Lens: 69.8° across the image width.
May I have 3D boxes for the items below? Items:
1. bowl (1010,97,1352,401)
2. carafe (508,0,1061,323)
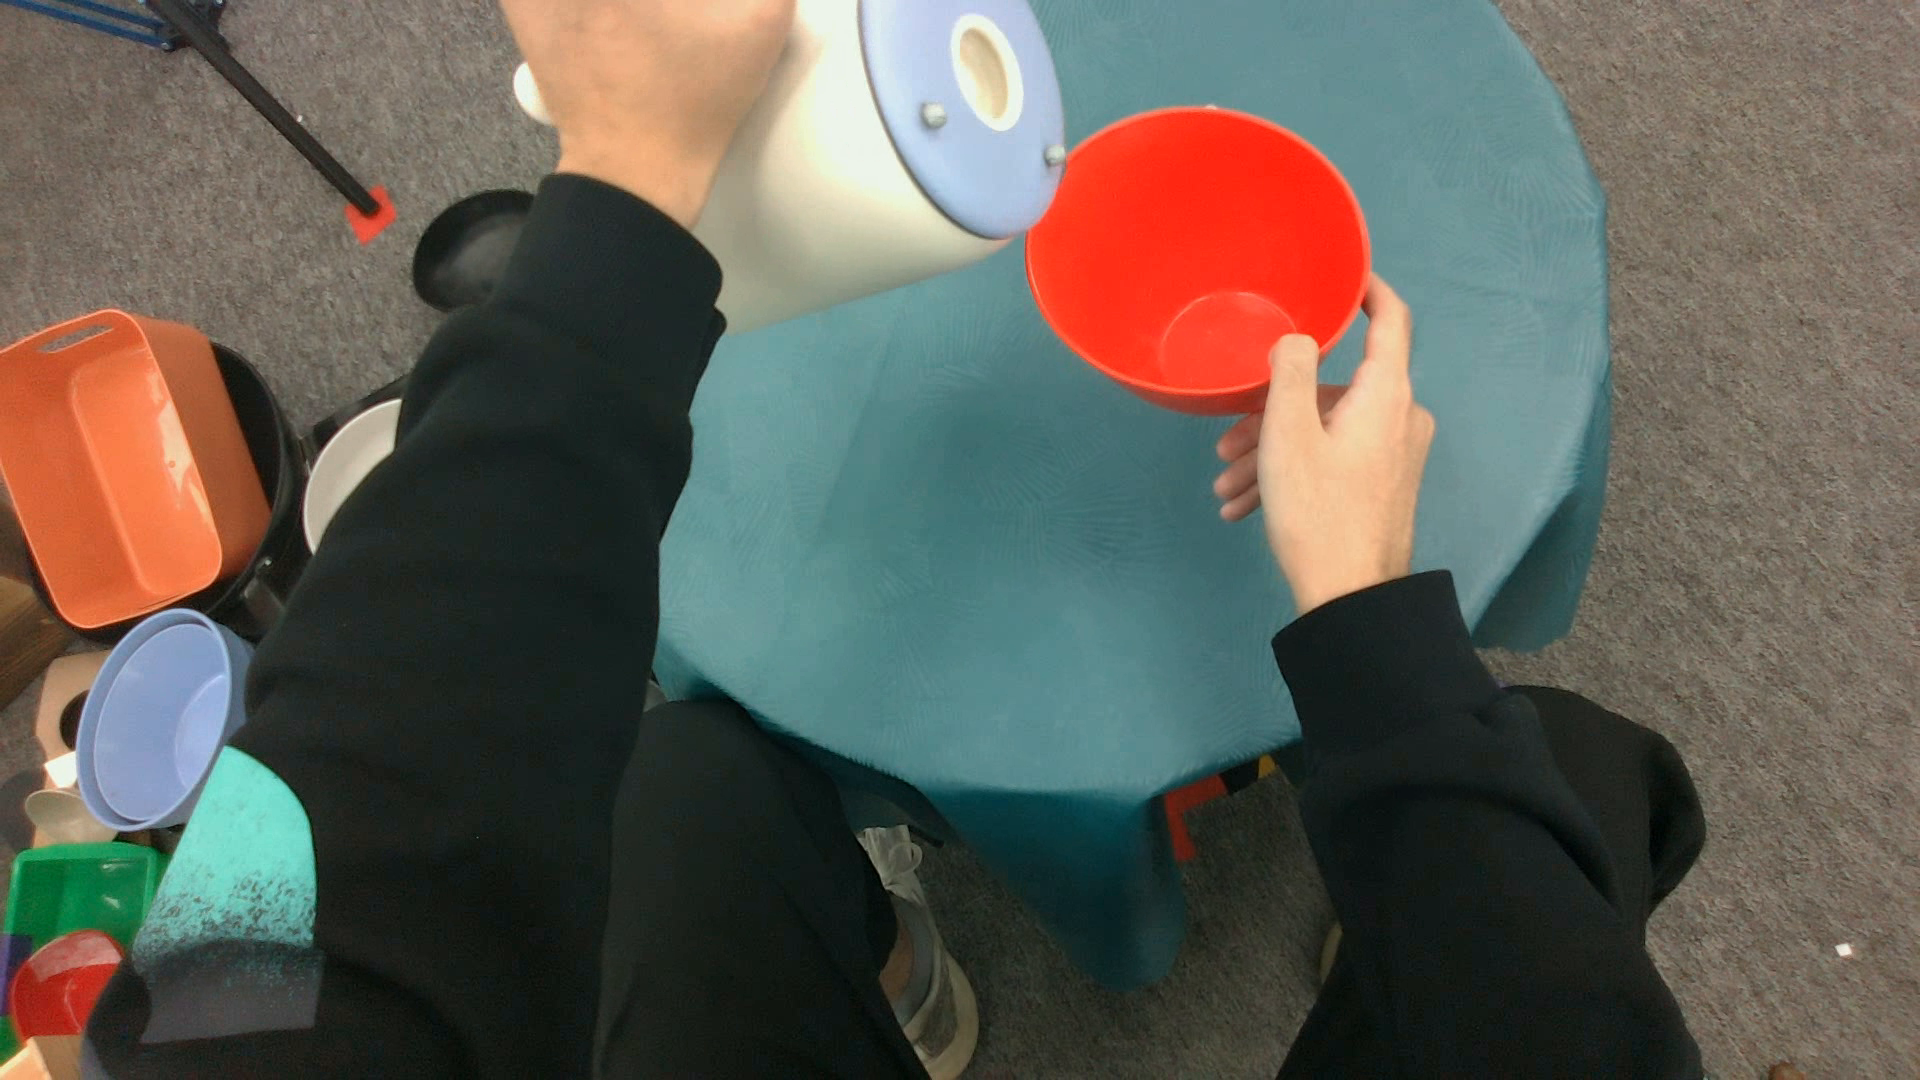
[{"bbox_3d":[0.106,-0.120,0.642,0.148,0.104,0.148,-5,64,11],"label":"bowl"},{"bbox_3d":[-0.078,-0.174,0.547,0.182,0.191,0.132,-9,72,37],"label":"carafe"}]
